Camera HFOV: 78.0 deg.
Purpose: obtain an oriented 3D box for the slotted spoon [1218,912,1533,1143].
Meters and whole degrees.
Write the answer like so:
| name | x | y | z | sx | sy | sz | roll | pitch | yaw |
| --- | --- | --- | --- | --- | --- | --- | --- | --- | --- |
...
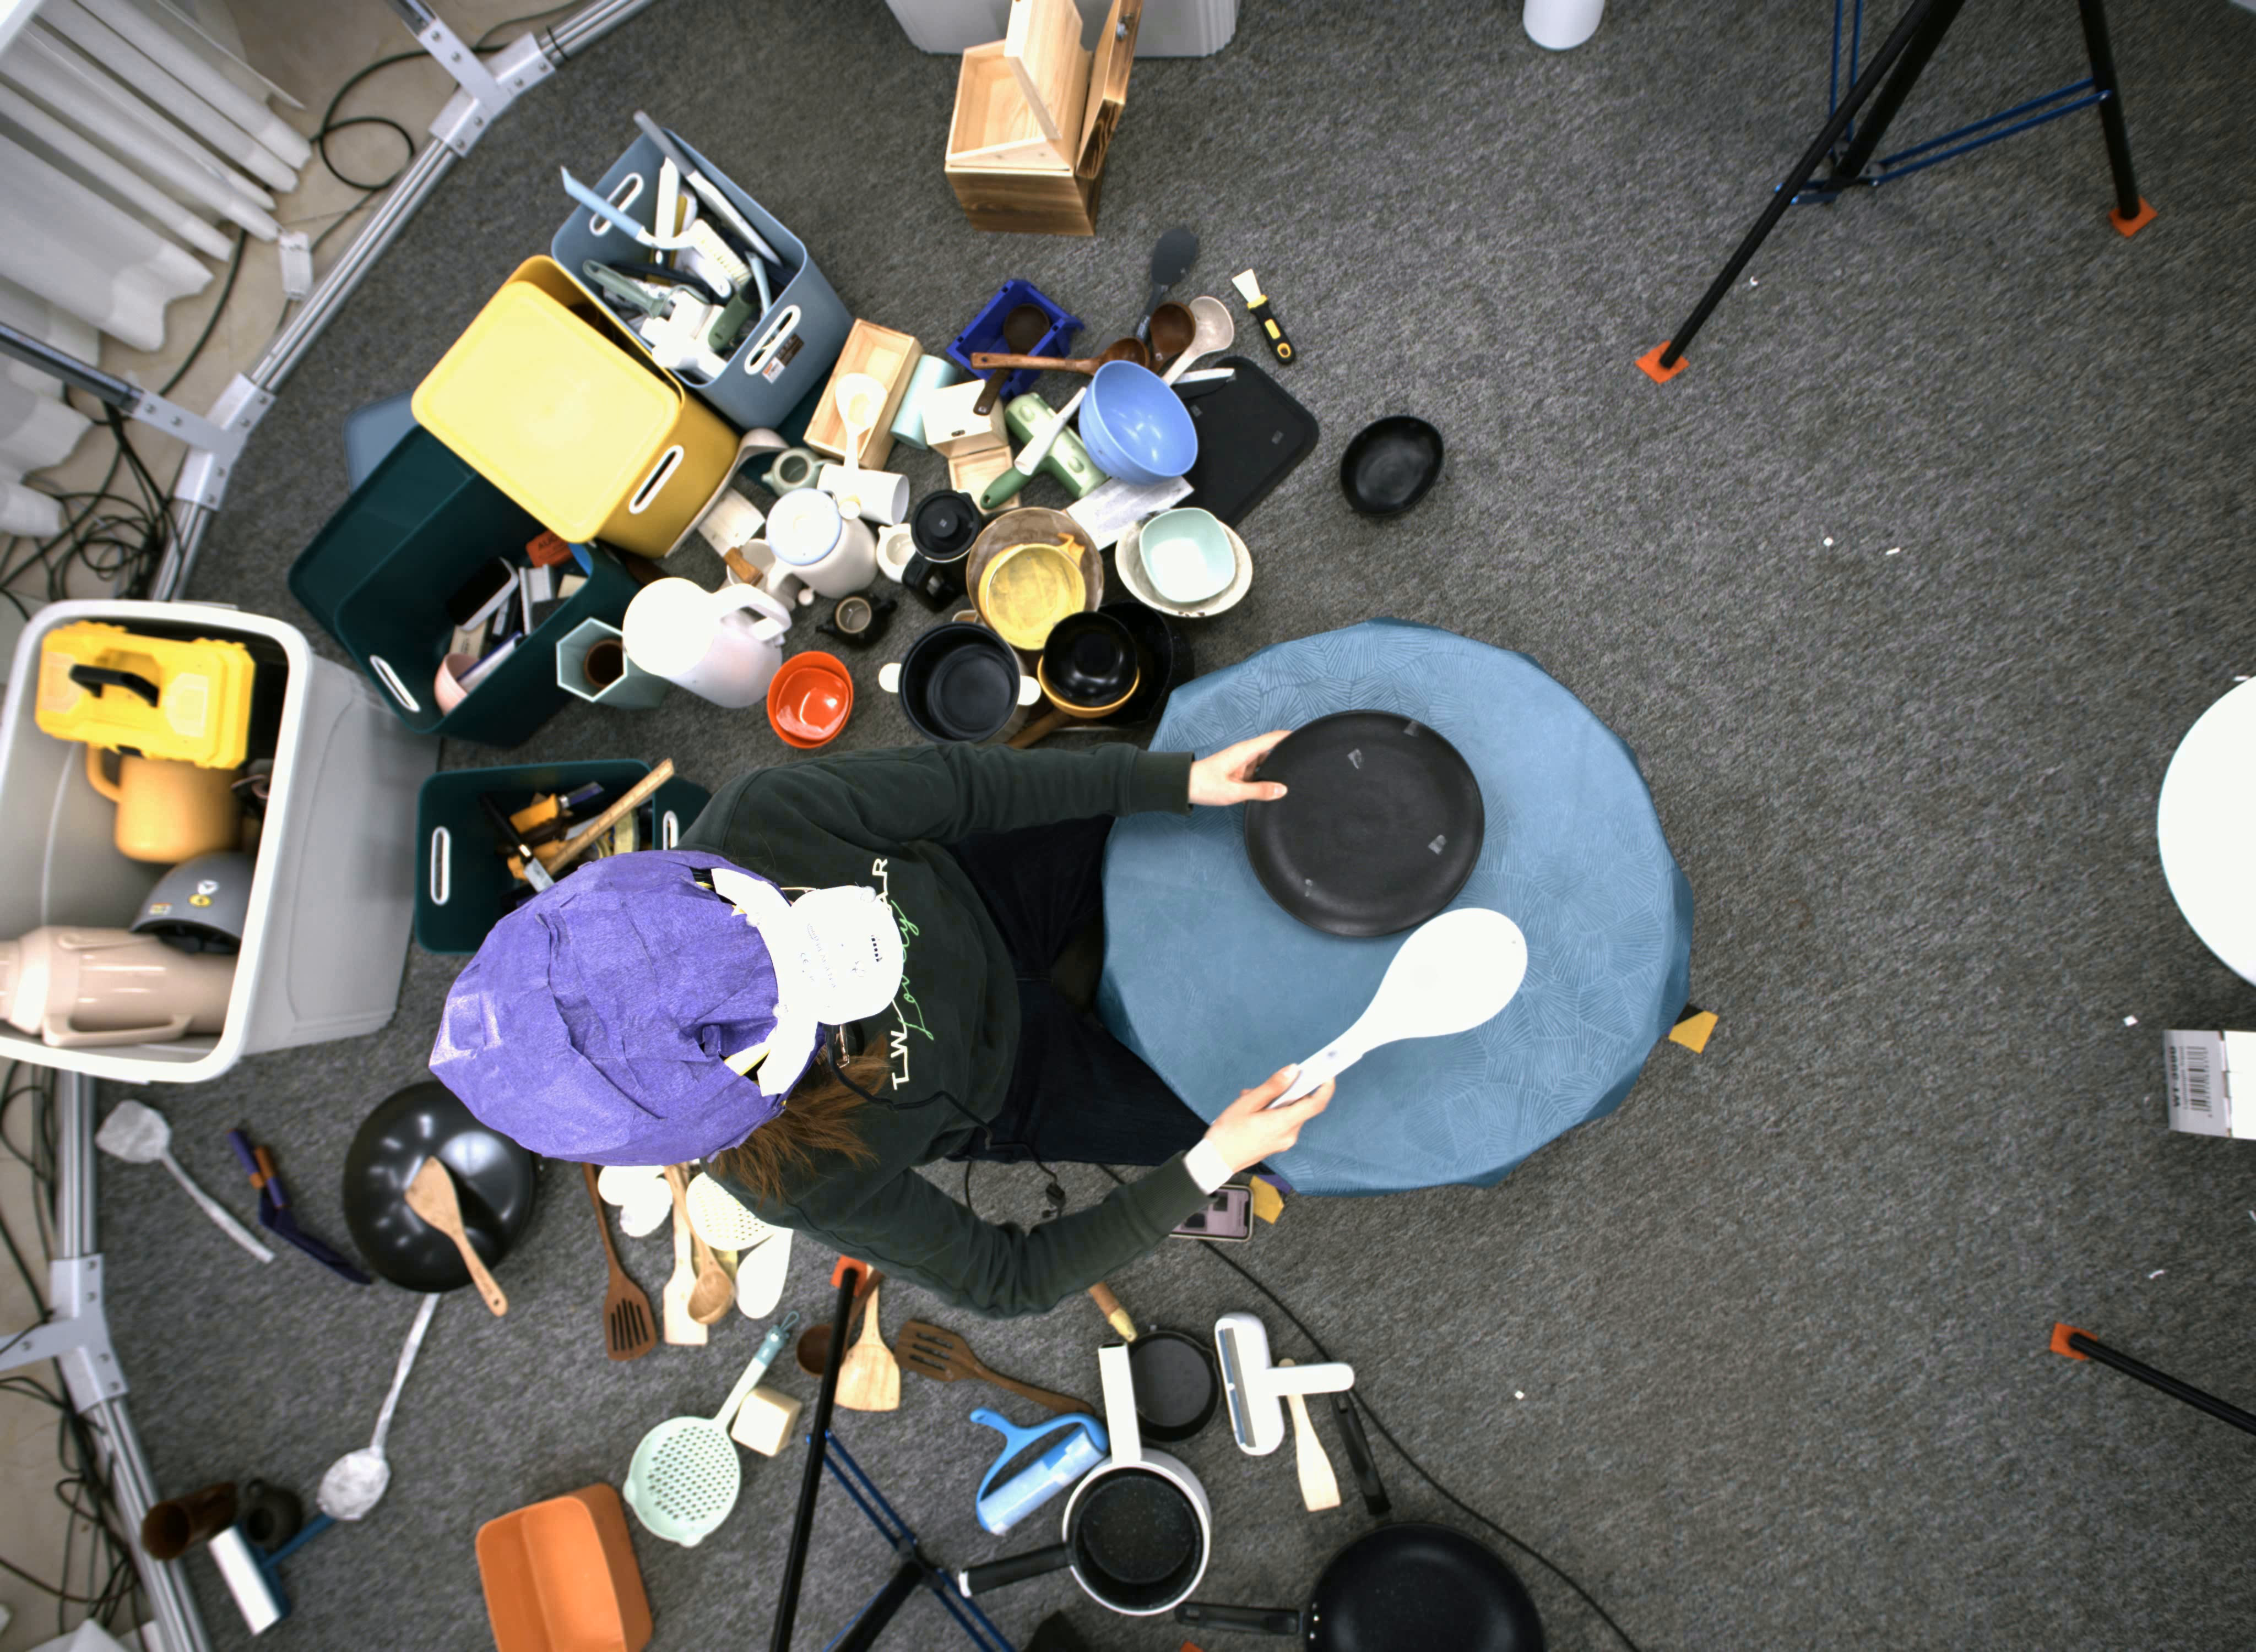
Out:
| name | x | y | z | sx | sy | sz | roll | pitch | yaw |
| --- | --- | --- | --- | --- | --- | --- | --- | --- | --- |
| slotted spoon | 0.234 | 0.202 | 1.326 | 0.352 | 0.046 | 0.133 | -32 | 37 | 9 |

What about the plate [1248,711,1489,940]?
| name | x | y | z | sx | sy | sz | roll | pitch | yaw |
| --- | --- | --- | --- | --- | --- | --- | --- | --- | --- |
| plate | 0.246 | -0.001 | 1.417 | 0.245 | 0.023 | 0.248 | 2 | 109 | 7 |
